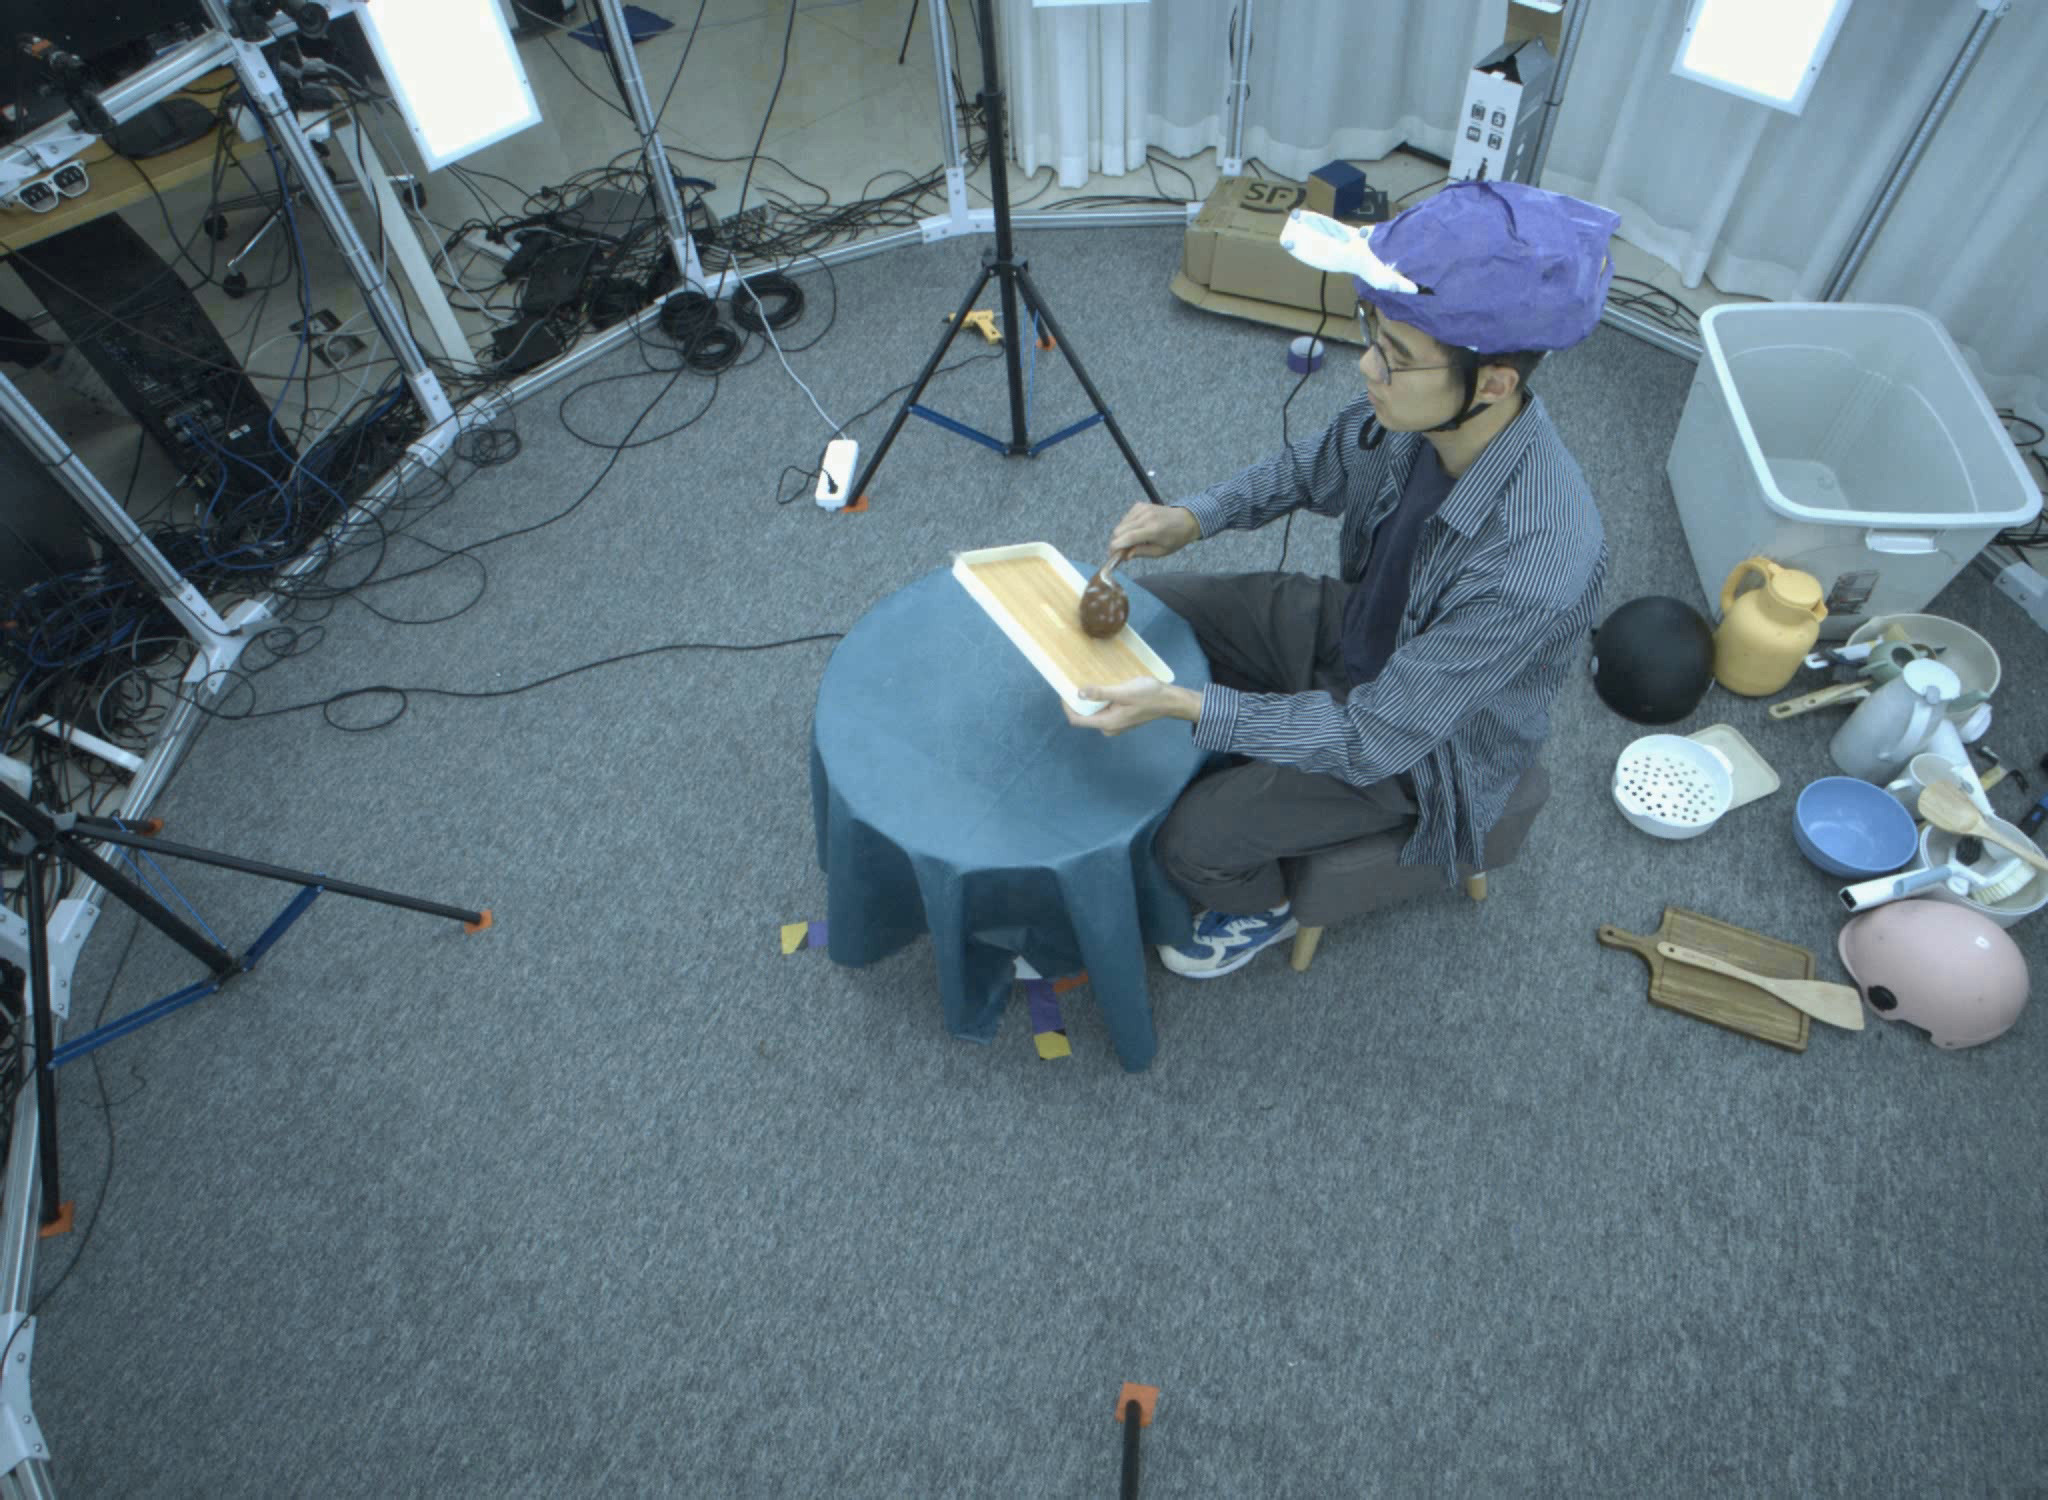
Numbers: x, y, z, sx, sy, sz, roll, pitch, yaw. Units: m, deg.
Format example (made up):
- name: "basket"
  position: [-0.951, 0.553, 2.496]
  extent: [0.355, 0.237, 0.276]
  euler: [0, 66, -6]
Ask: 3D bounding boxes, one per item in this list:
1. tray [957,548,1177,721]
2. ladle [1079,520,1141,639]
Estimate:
- name: "tray"
  position: [0.058, -0.164, 1.679]
  extent: [0.195, 0.027, 0.296]
  euler: [-17, 59, -46]
- name: "ladle"
  position: [0.144, -0.249, 1.767]
  extent: [0.081, 0.077, 0.274]
  euler: [-23, 21, 33]
